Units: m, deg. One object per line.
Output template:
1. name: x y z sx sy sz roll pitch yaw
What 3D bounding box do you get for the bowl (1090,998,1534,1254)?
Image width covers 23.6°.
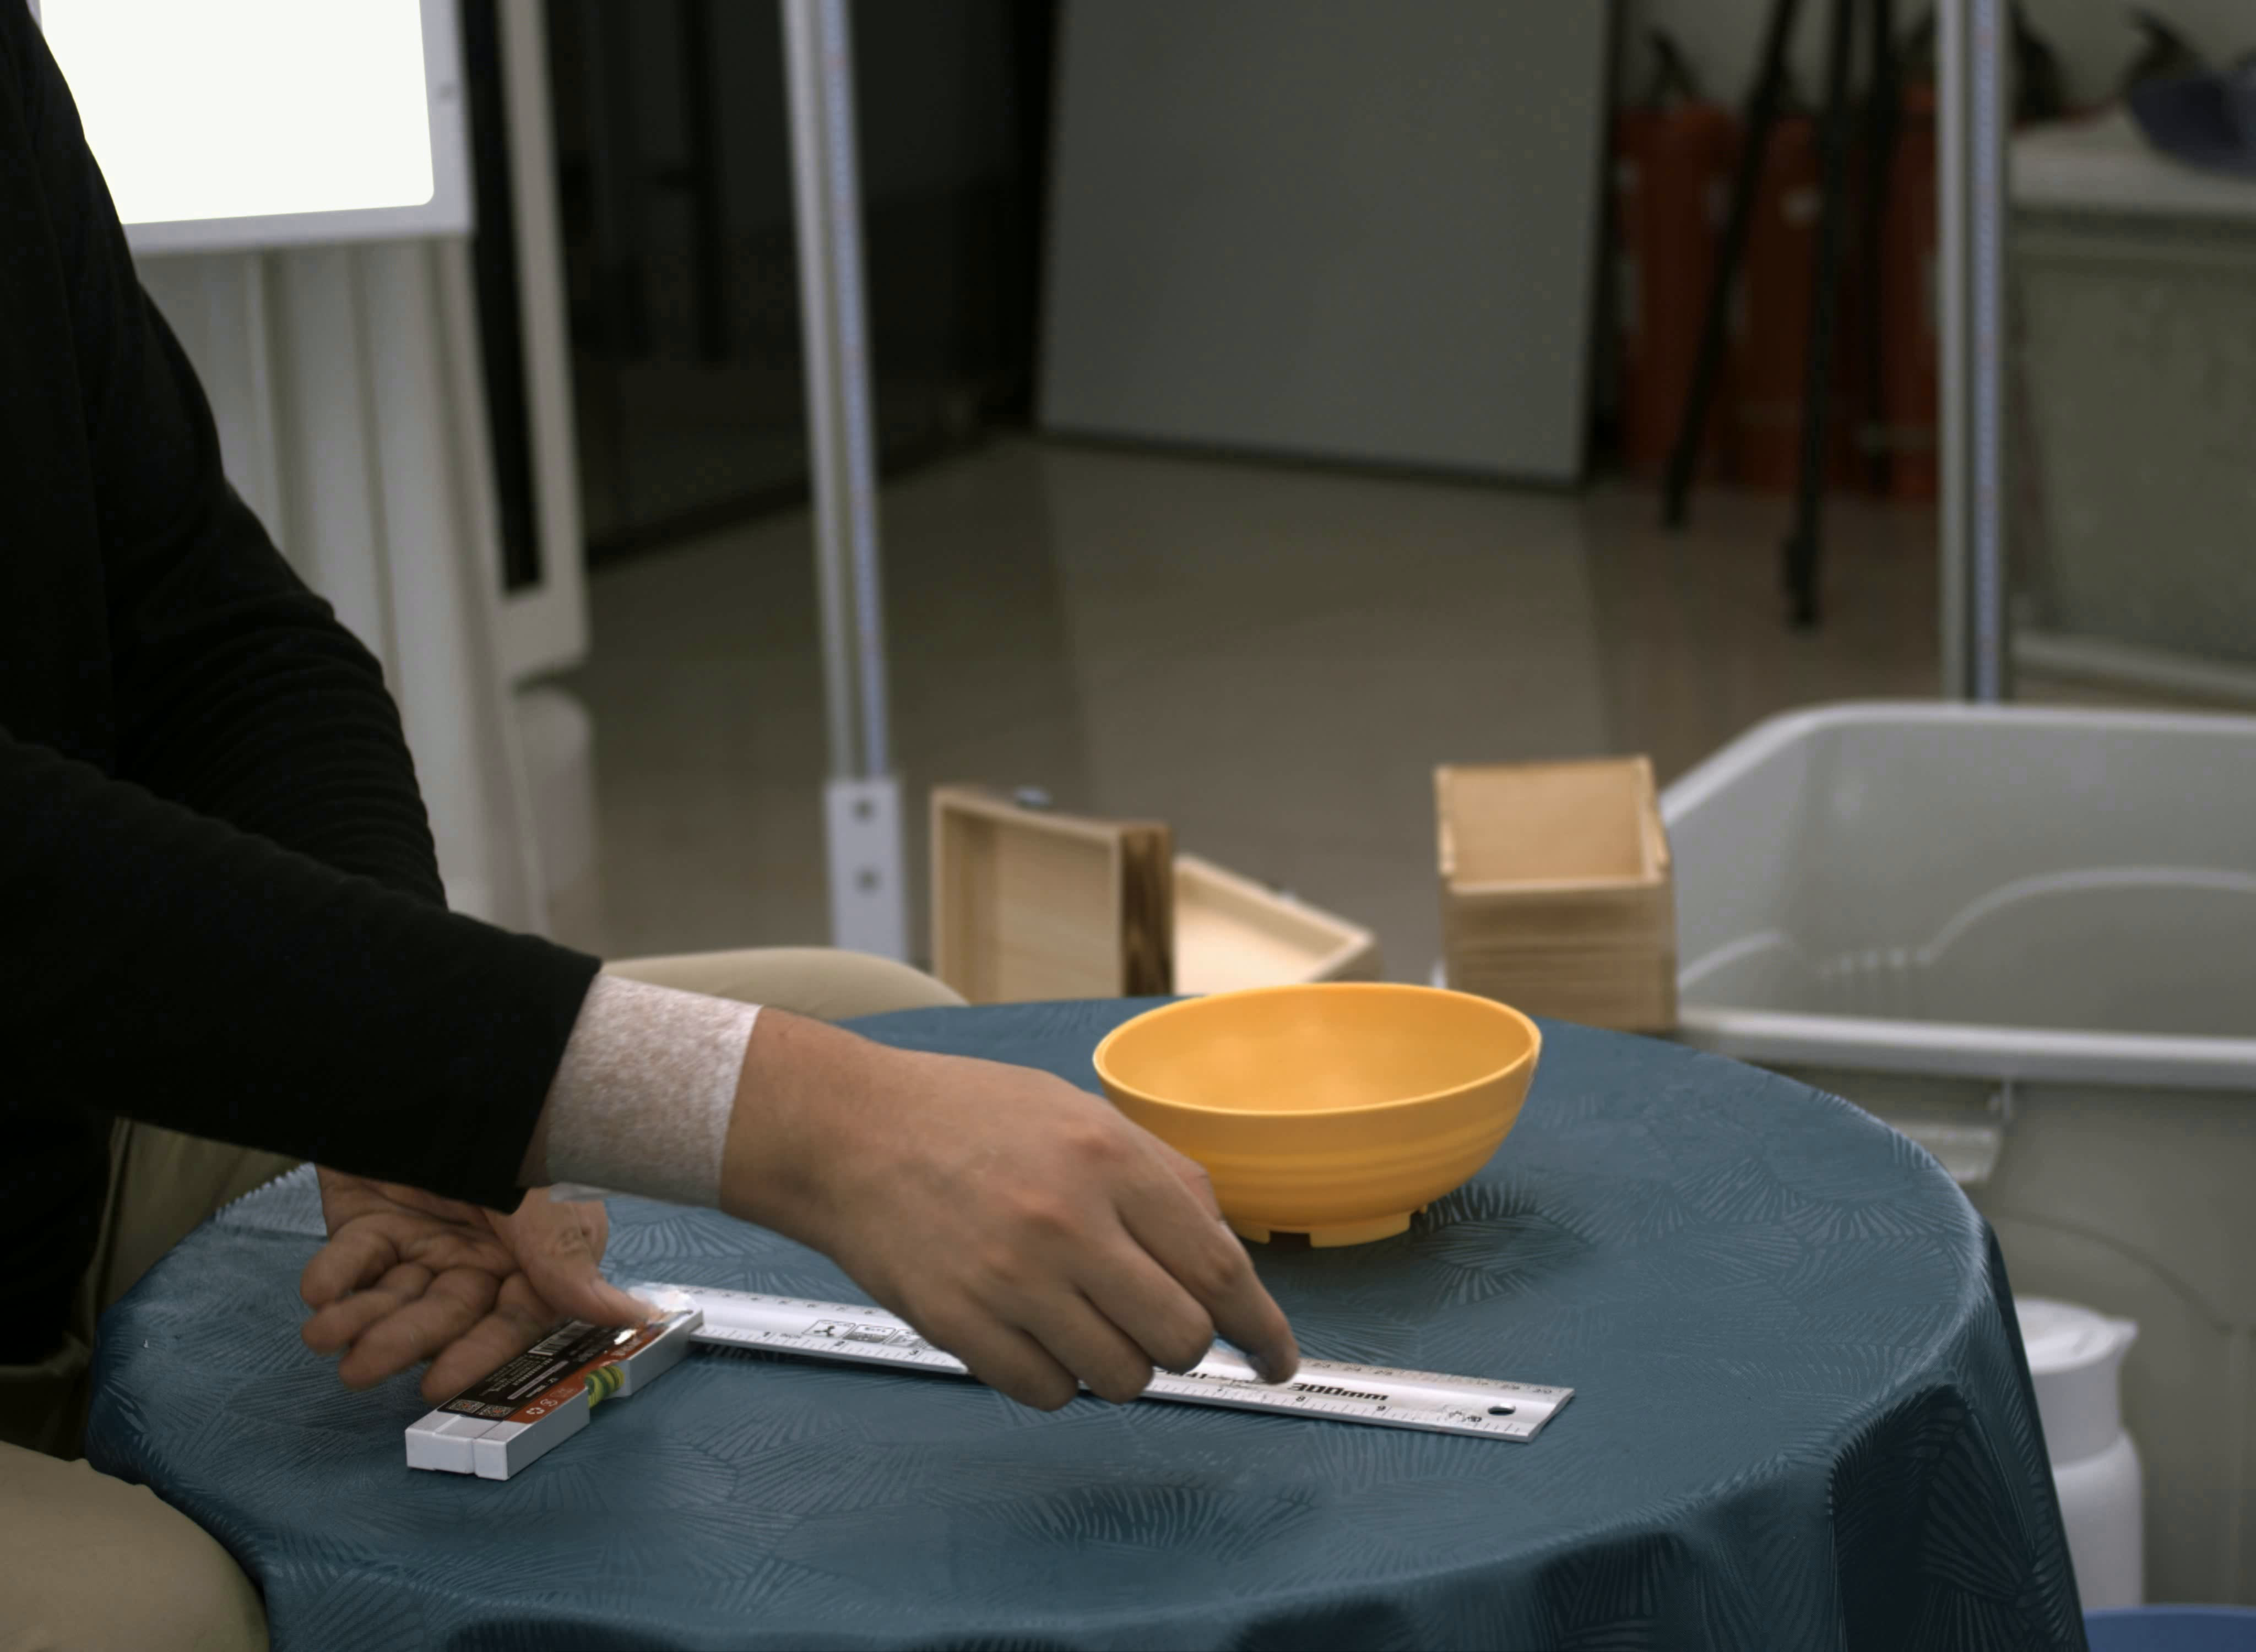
1. bowl: 0.061 0.099 1.724 0.143 0.061 0.145 -5 11 0

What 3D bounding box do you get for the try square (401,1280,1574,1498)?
1. try square: -0.041 0.173 1.560 0.313 0.016 0.150 4 18 26
